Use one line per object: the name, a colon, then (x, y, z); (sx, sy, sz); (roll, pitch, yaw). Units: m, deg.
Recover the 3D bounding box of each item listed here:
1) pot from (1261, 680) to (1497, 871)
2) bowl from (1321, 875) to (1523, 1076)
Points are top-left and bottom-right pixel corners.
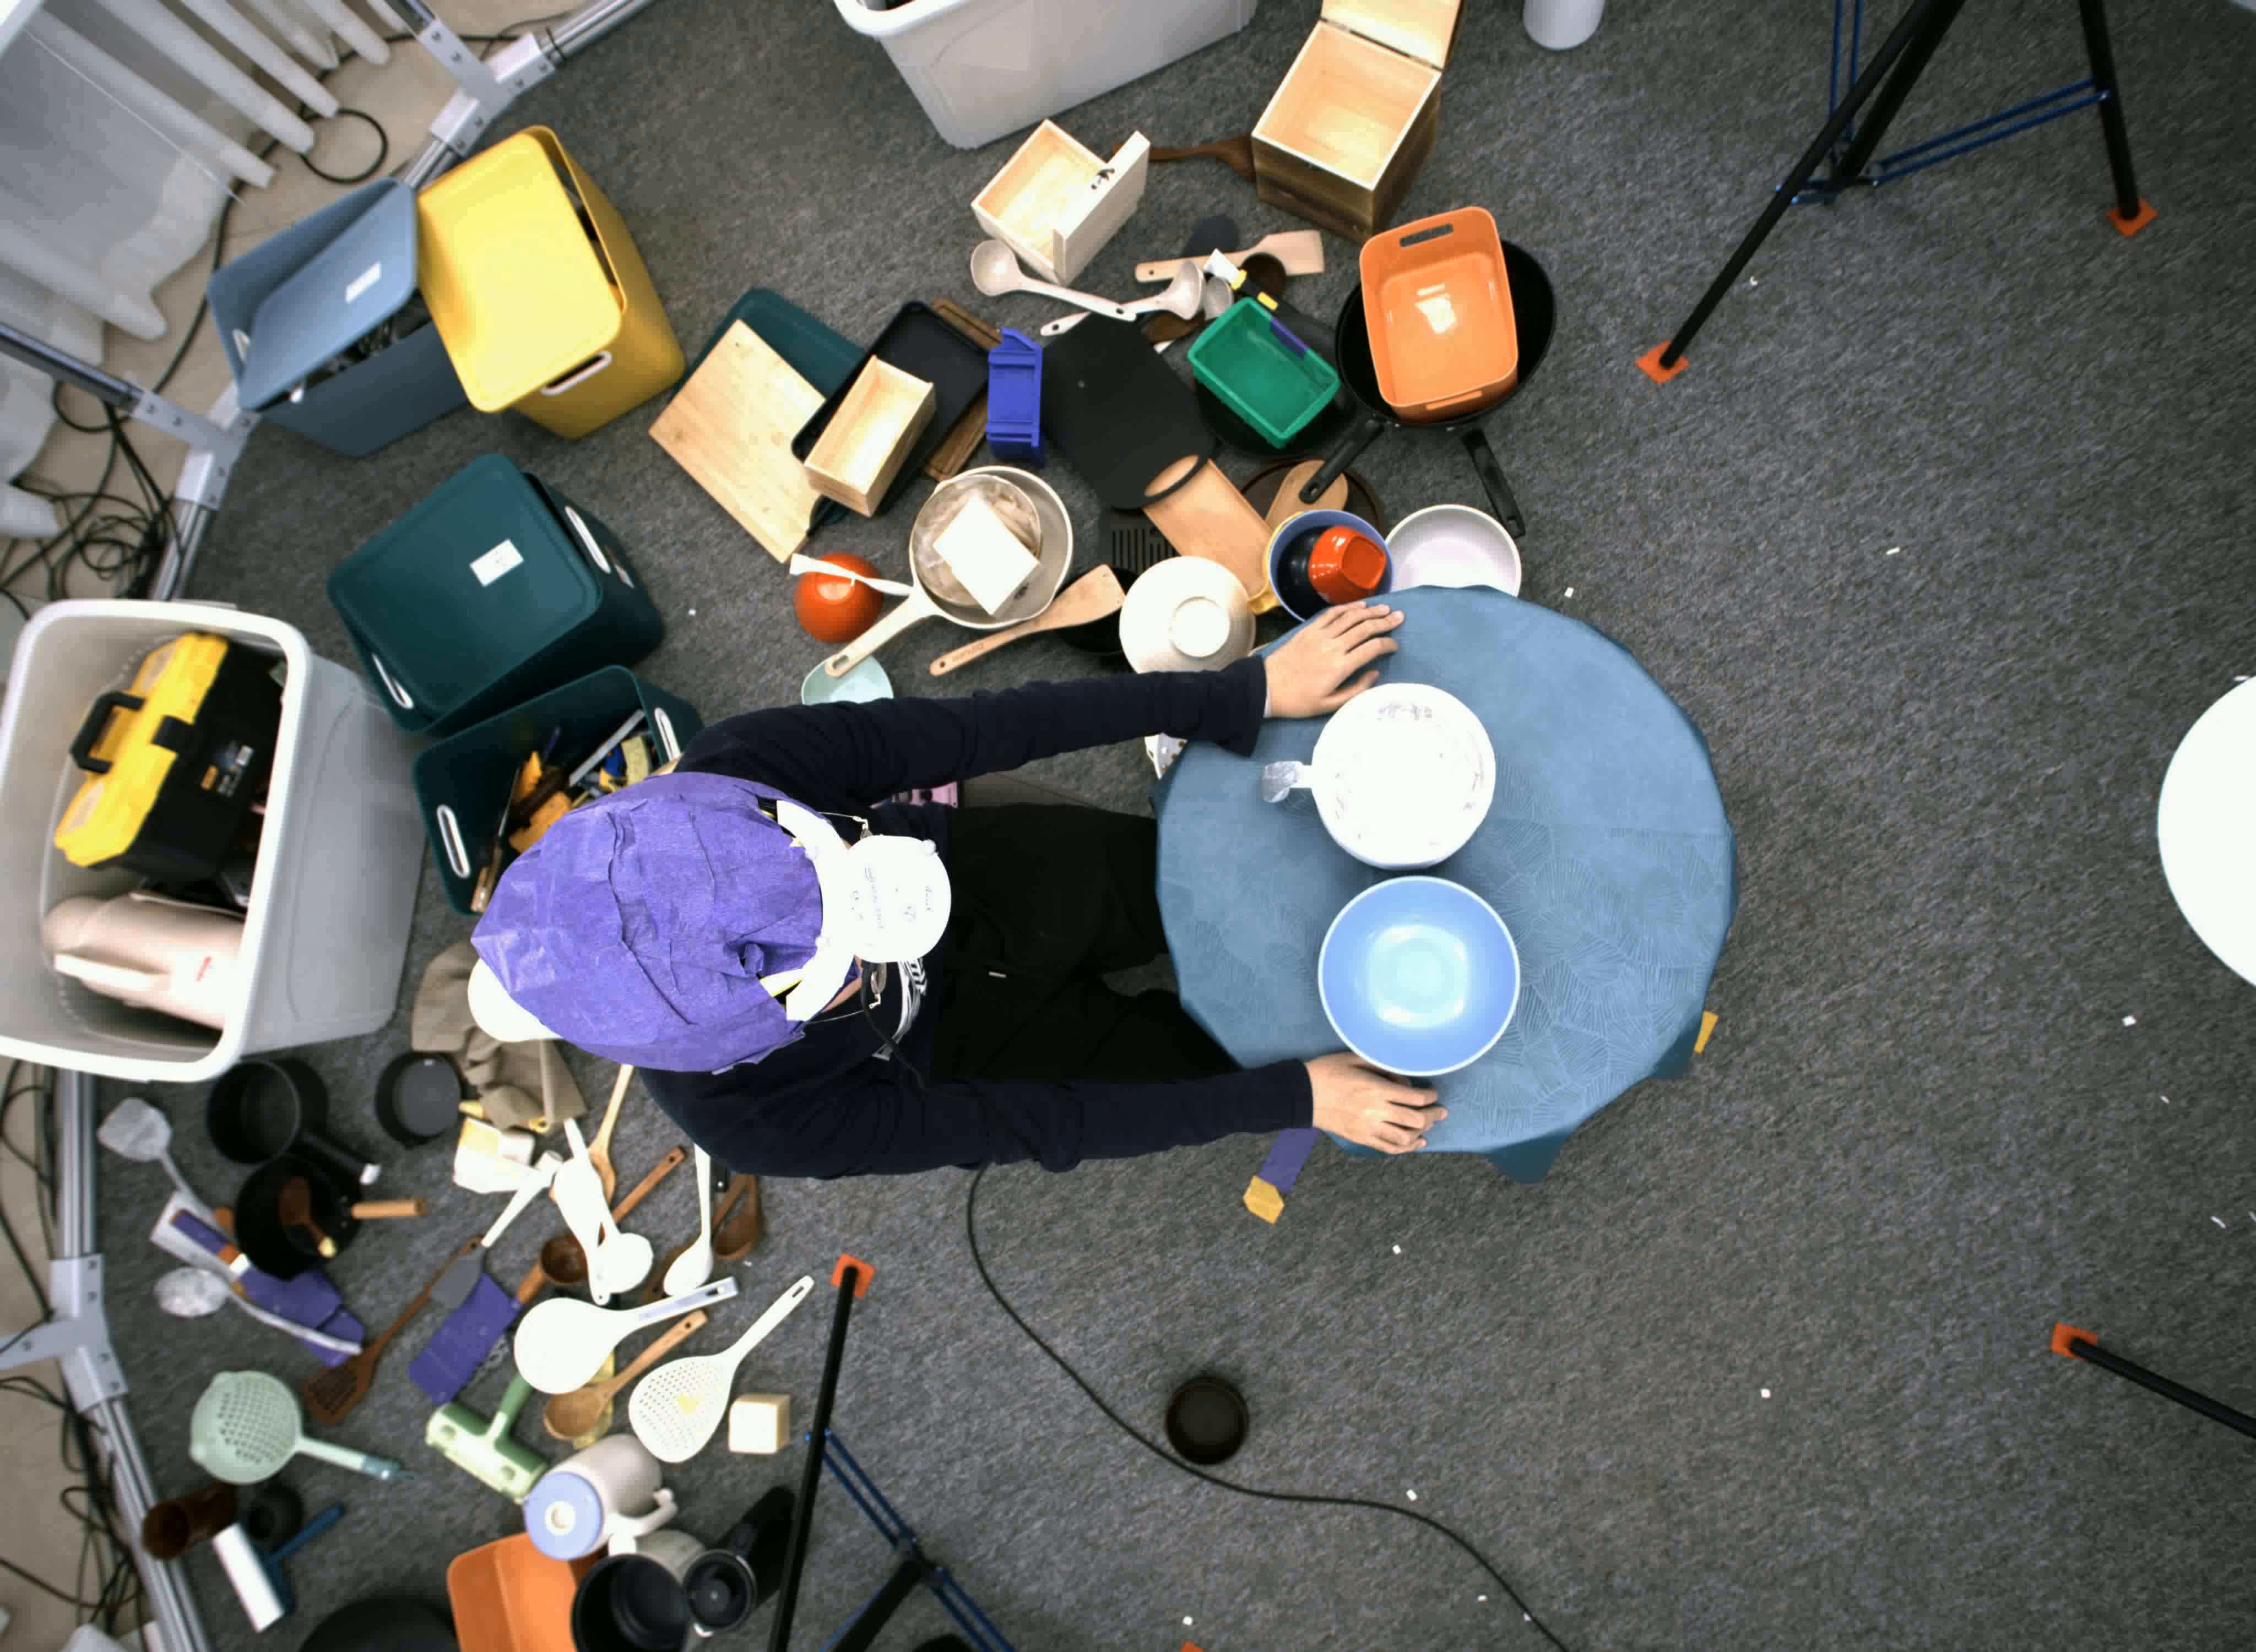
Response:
pot: (0.250, -0.047, 1.400); (0.234, 0.137, 0.177); (-1, 83, 10)
bowl: (0.292, 0.149, 1.399); (0.197, 0.095, 0.196); (0, 87, 6)
